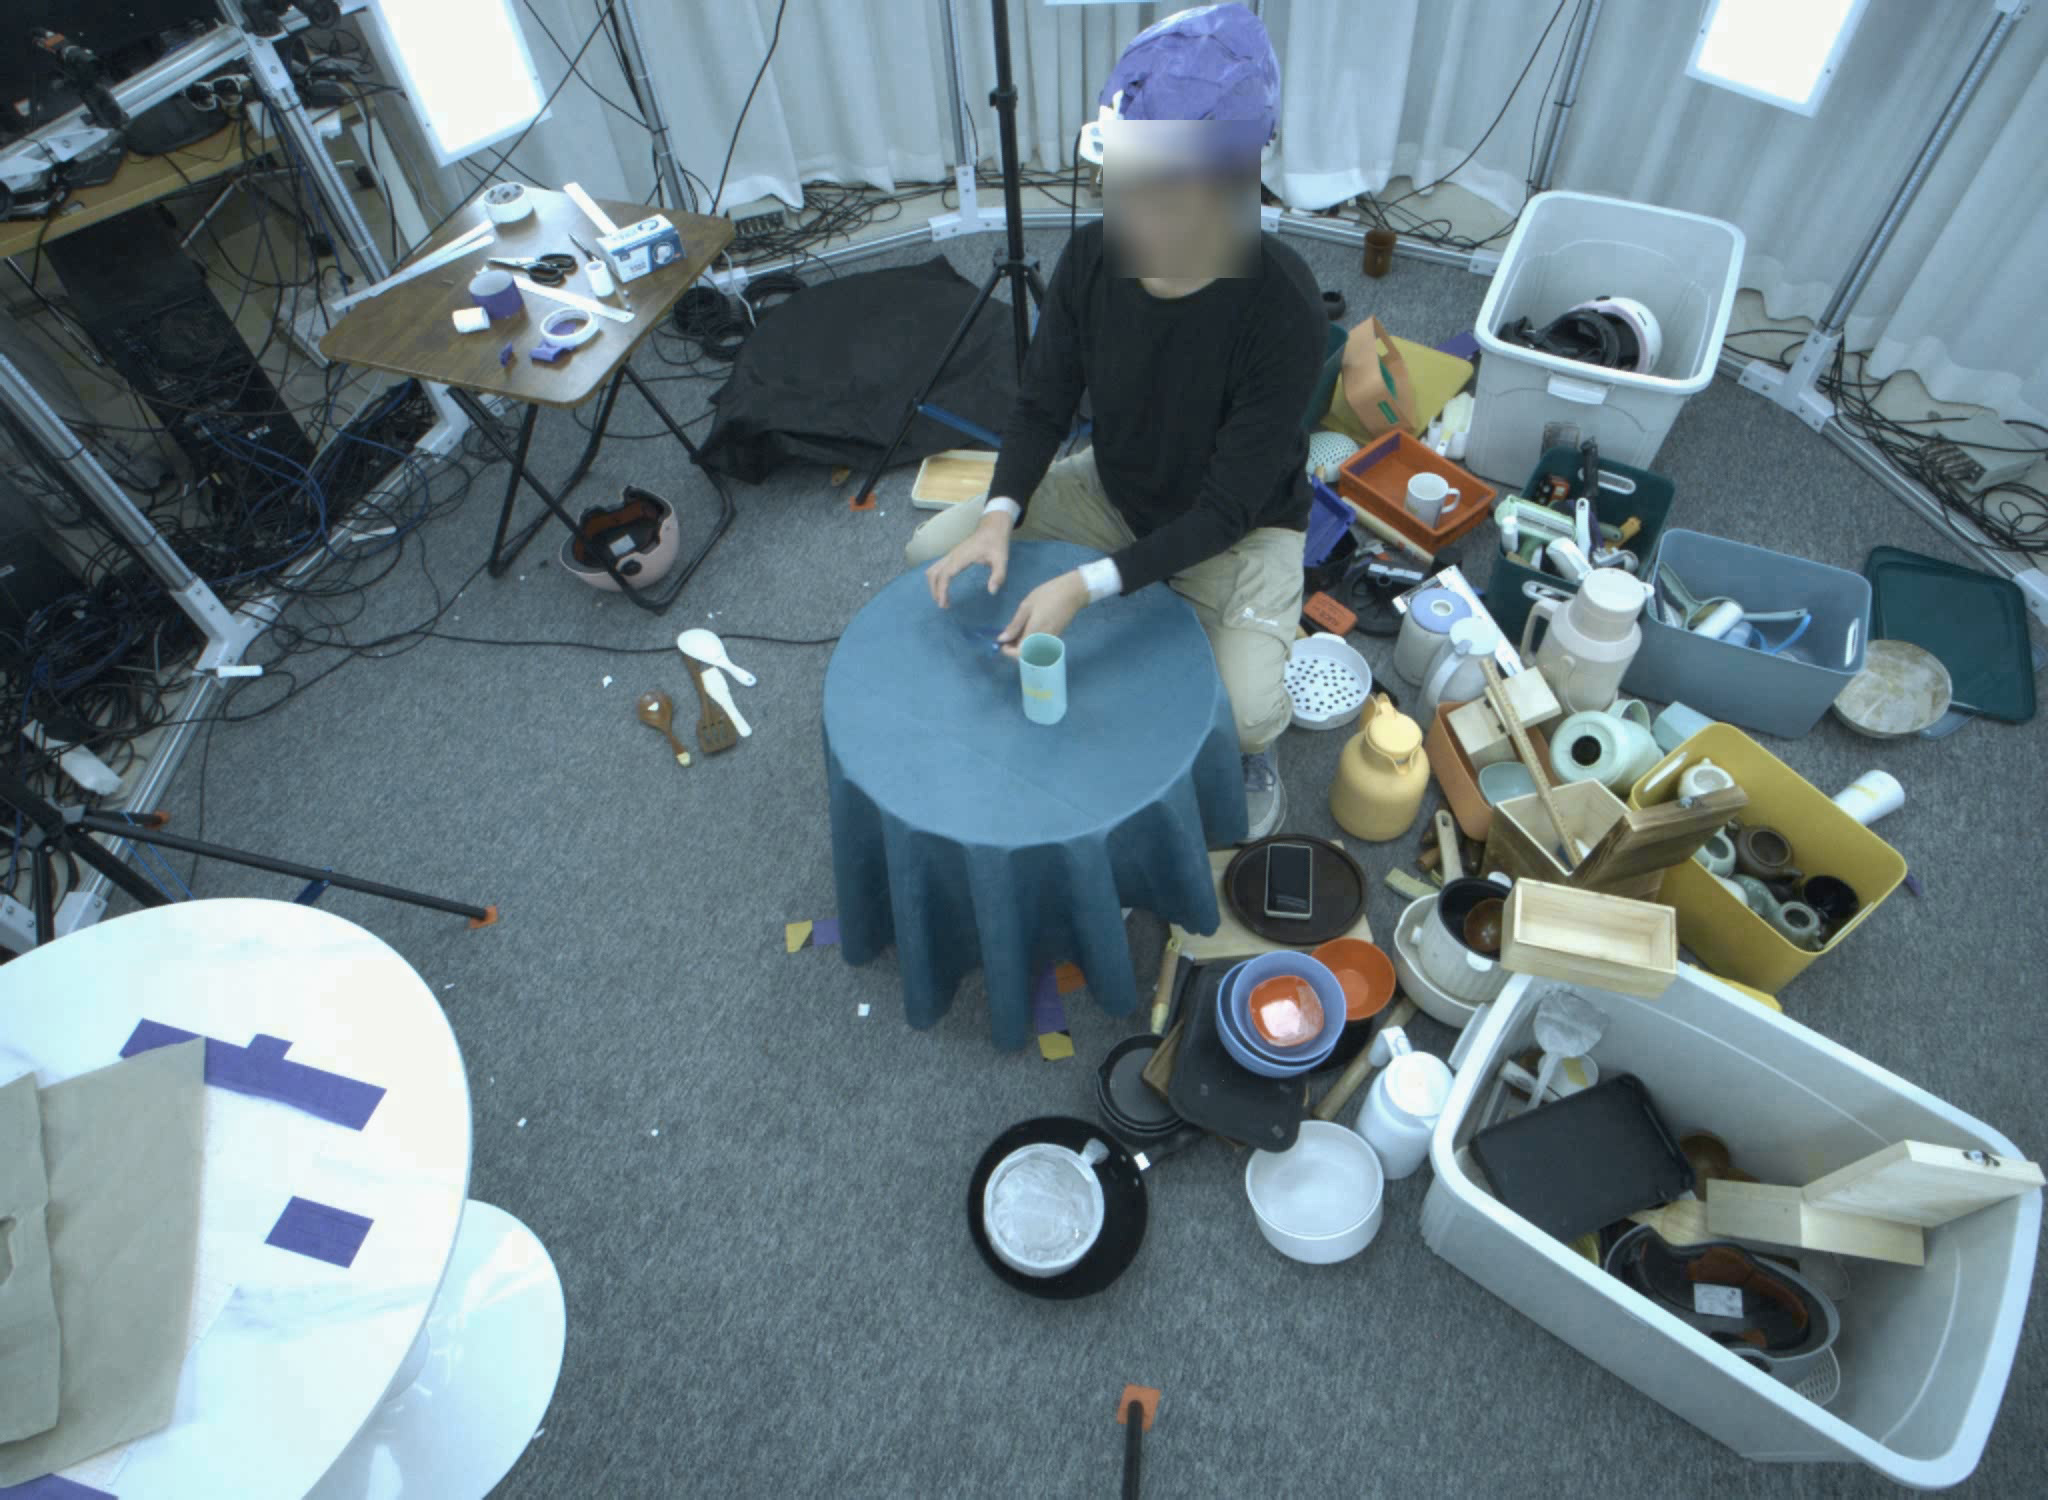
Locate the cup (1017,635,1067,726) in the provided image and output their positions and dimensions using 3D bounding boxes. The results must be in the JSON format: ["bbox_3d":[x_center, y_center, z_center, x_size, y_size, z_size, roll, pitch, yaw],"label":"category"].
[{"bbox_3d":[0.028,-0.100,1.782,0.066,0.134,0.066,-2,55,3],"label":"cup"}]

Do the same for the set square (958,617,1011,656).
[{"bbox_3d":[-0.059,-0.184,1.856,0.061,0.007,0.129,-30,37,-5],"label":"set square"}]
